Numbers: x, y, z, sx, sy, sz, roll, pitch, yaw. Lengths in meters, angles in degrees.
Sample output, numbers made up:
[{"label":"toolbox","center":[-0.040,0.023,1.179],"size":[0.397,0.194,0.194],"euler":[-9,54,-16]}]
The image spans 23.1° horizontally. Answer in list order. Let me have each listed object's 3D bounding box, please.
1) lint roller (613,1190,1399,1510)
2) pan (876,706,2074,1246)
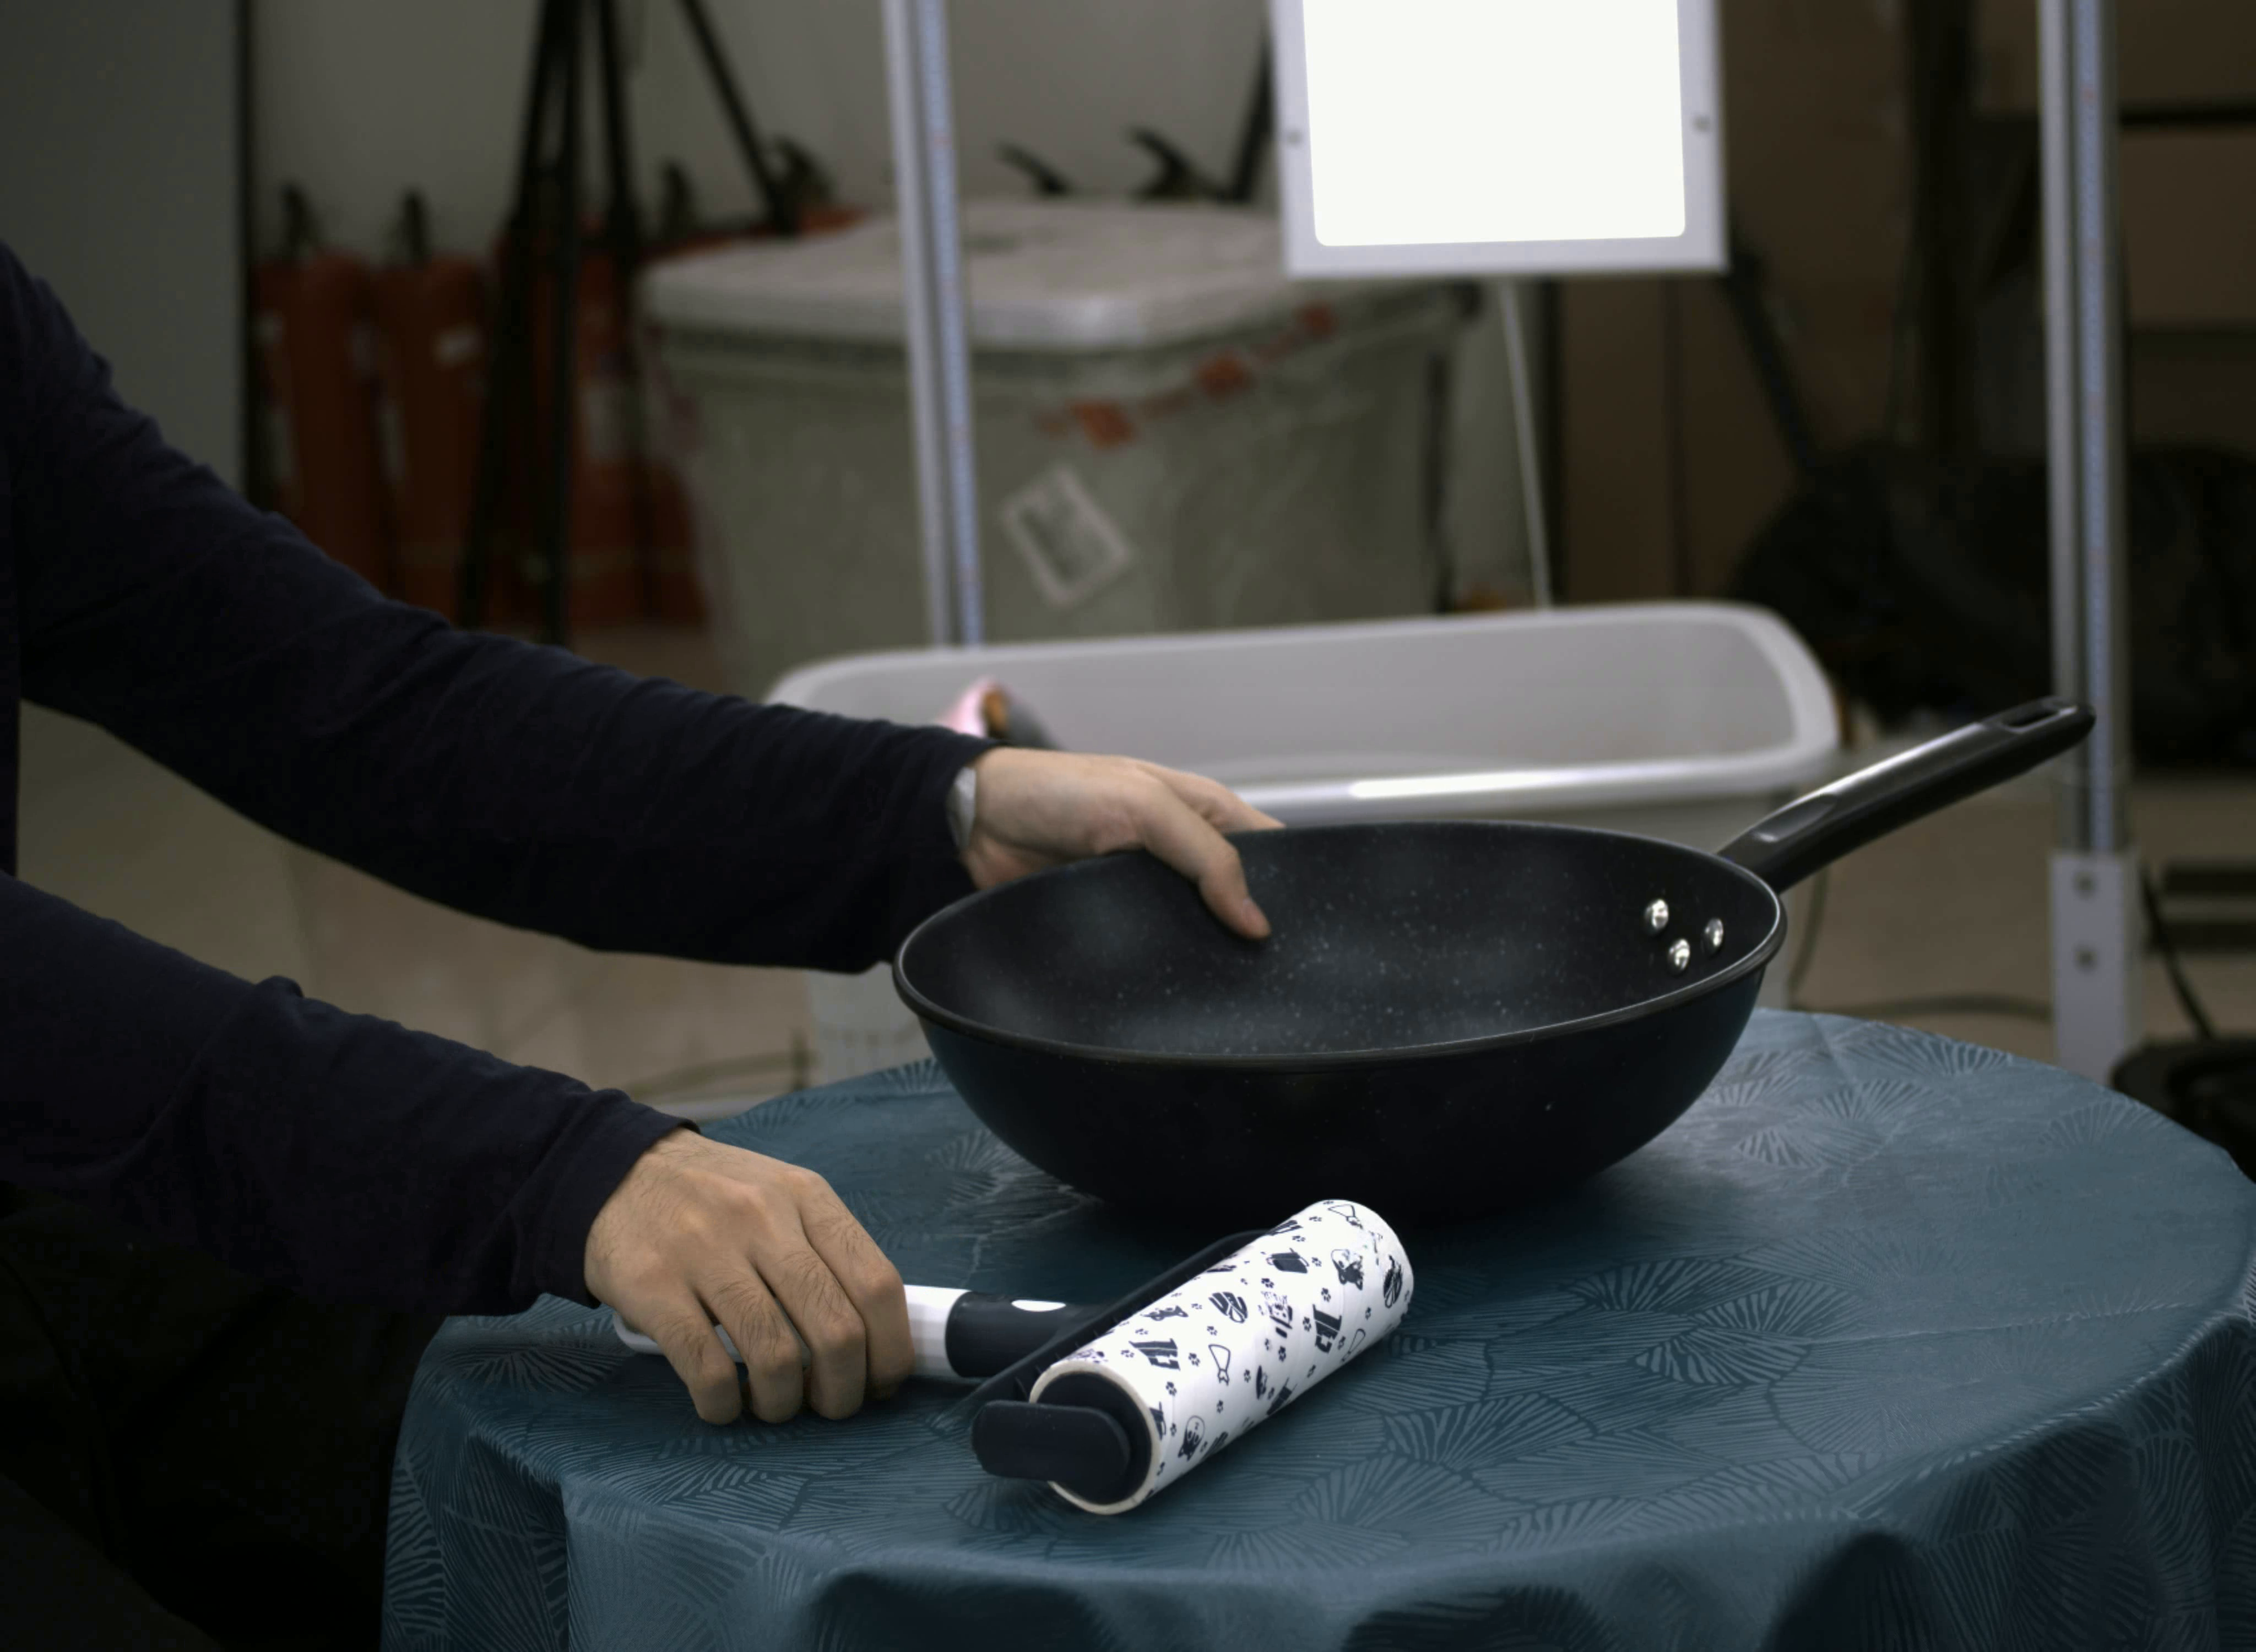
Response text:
[{"label":"lint roller","center":[-0.059,0.157,1.715],"size":[0.252,0.050,0.172],"euler":[0,15,32]},{"label":"pan","center":[0.143,0.052,1.928],"size":[0.467,0.112,0.315],"euler":[-12,17,-25]}]
